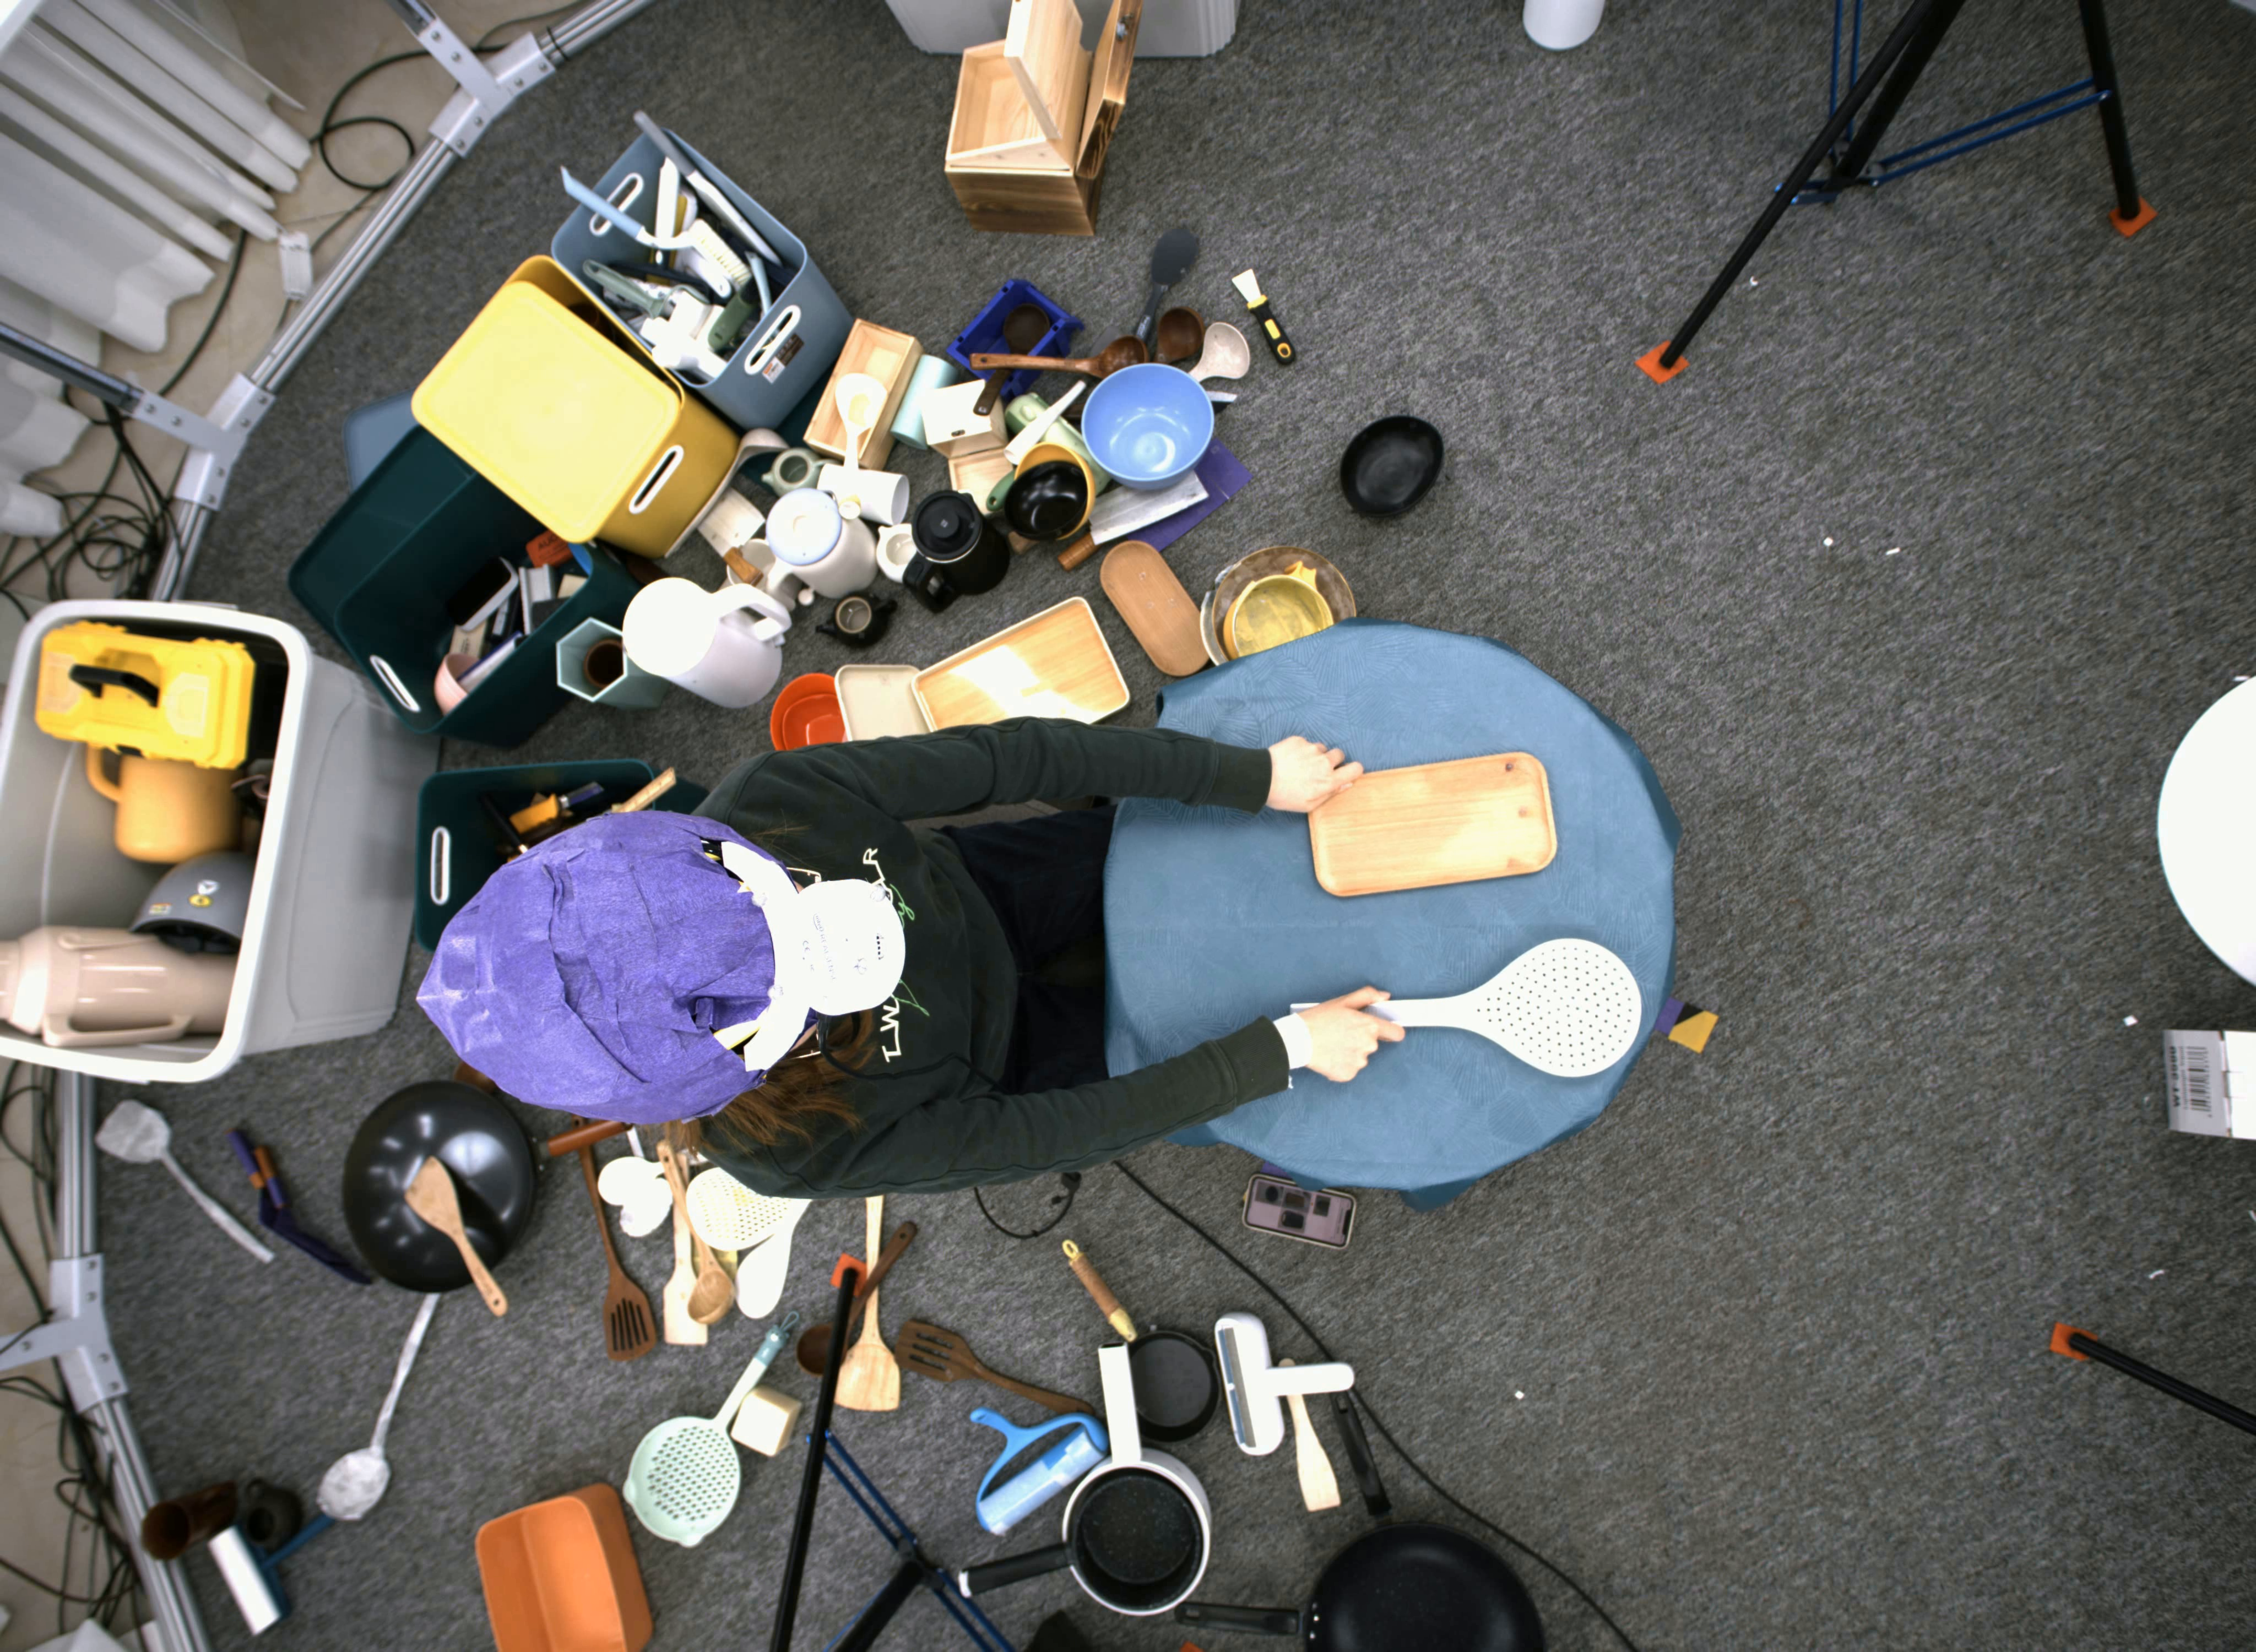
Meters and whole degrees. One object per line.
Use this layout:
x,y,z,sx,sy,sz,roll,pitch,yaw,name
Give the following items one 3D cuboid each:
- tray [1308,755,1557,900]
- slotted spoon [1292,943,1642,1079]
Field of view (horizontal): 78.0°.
0.319,0.001,1.452,0.252,0.023,0.129,-8,83,10,tray
0.344,0.191,1.420,0.351,0.046,0.135,-3,85,11,slotted spoon
